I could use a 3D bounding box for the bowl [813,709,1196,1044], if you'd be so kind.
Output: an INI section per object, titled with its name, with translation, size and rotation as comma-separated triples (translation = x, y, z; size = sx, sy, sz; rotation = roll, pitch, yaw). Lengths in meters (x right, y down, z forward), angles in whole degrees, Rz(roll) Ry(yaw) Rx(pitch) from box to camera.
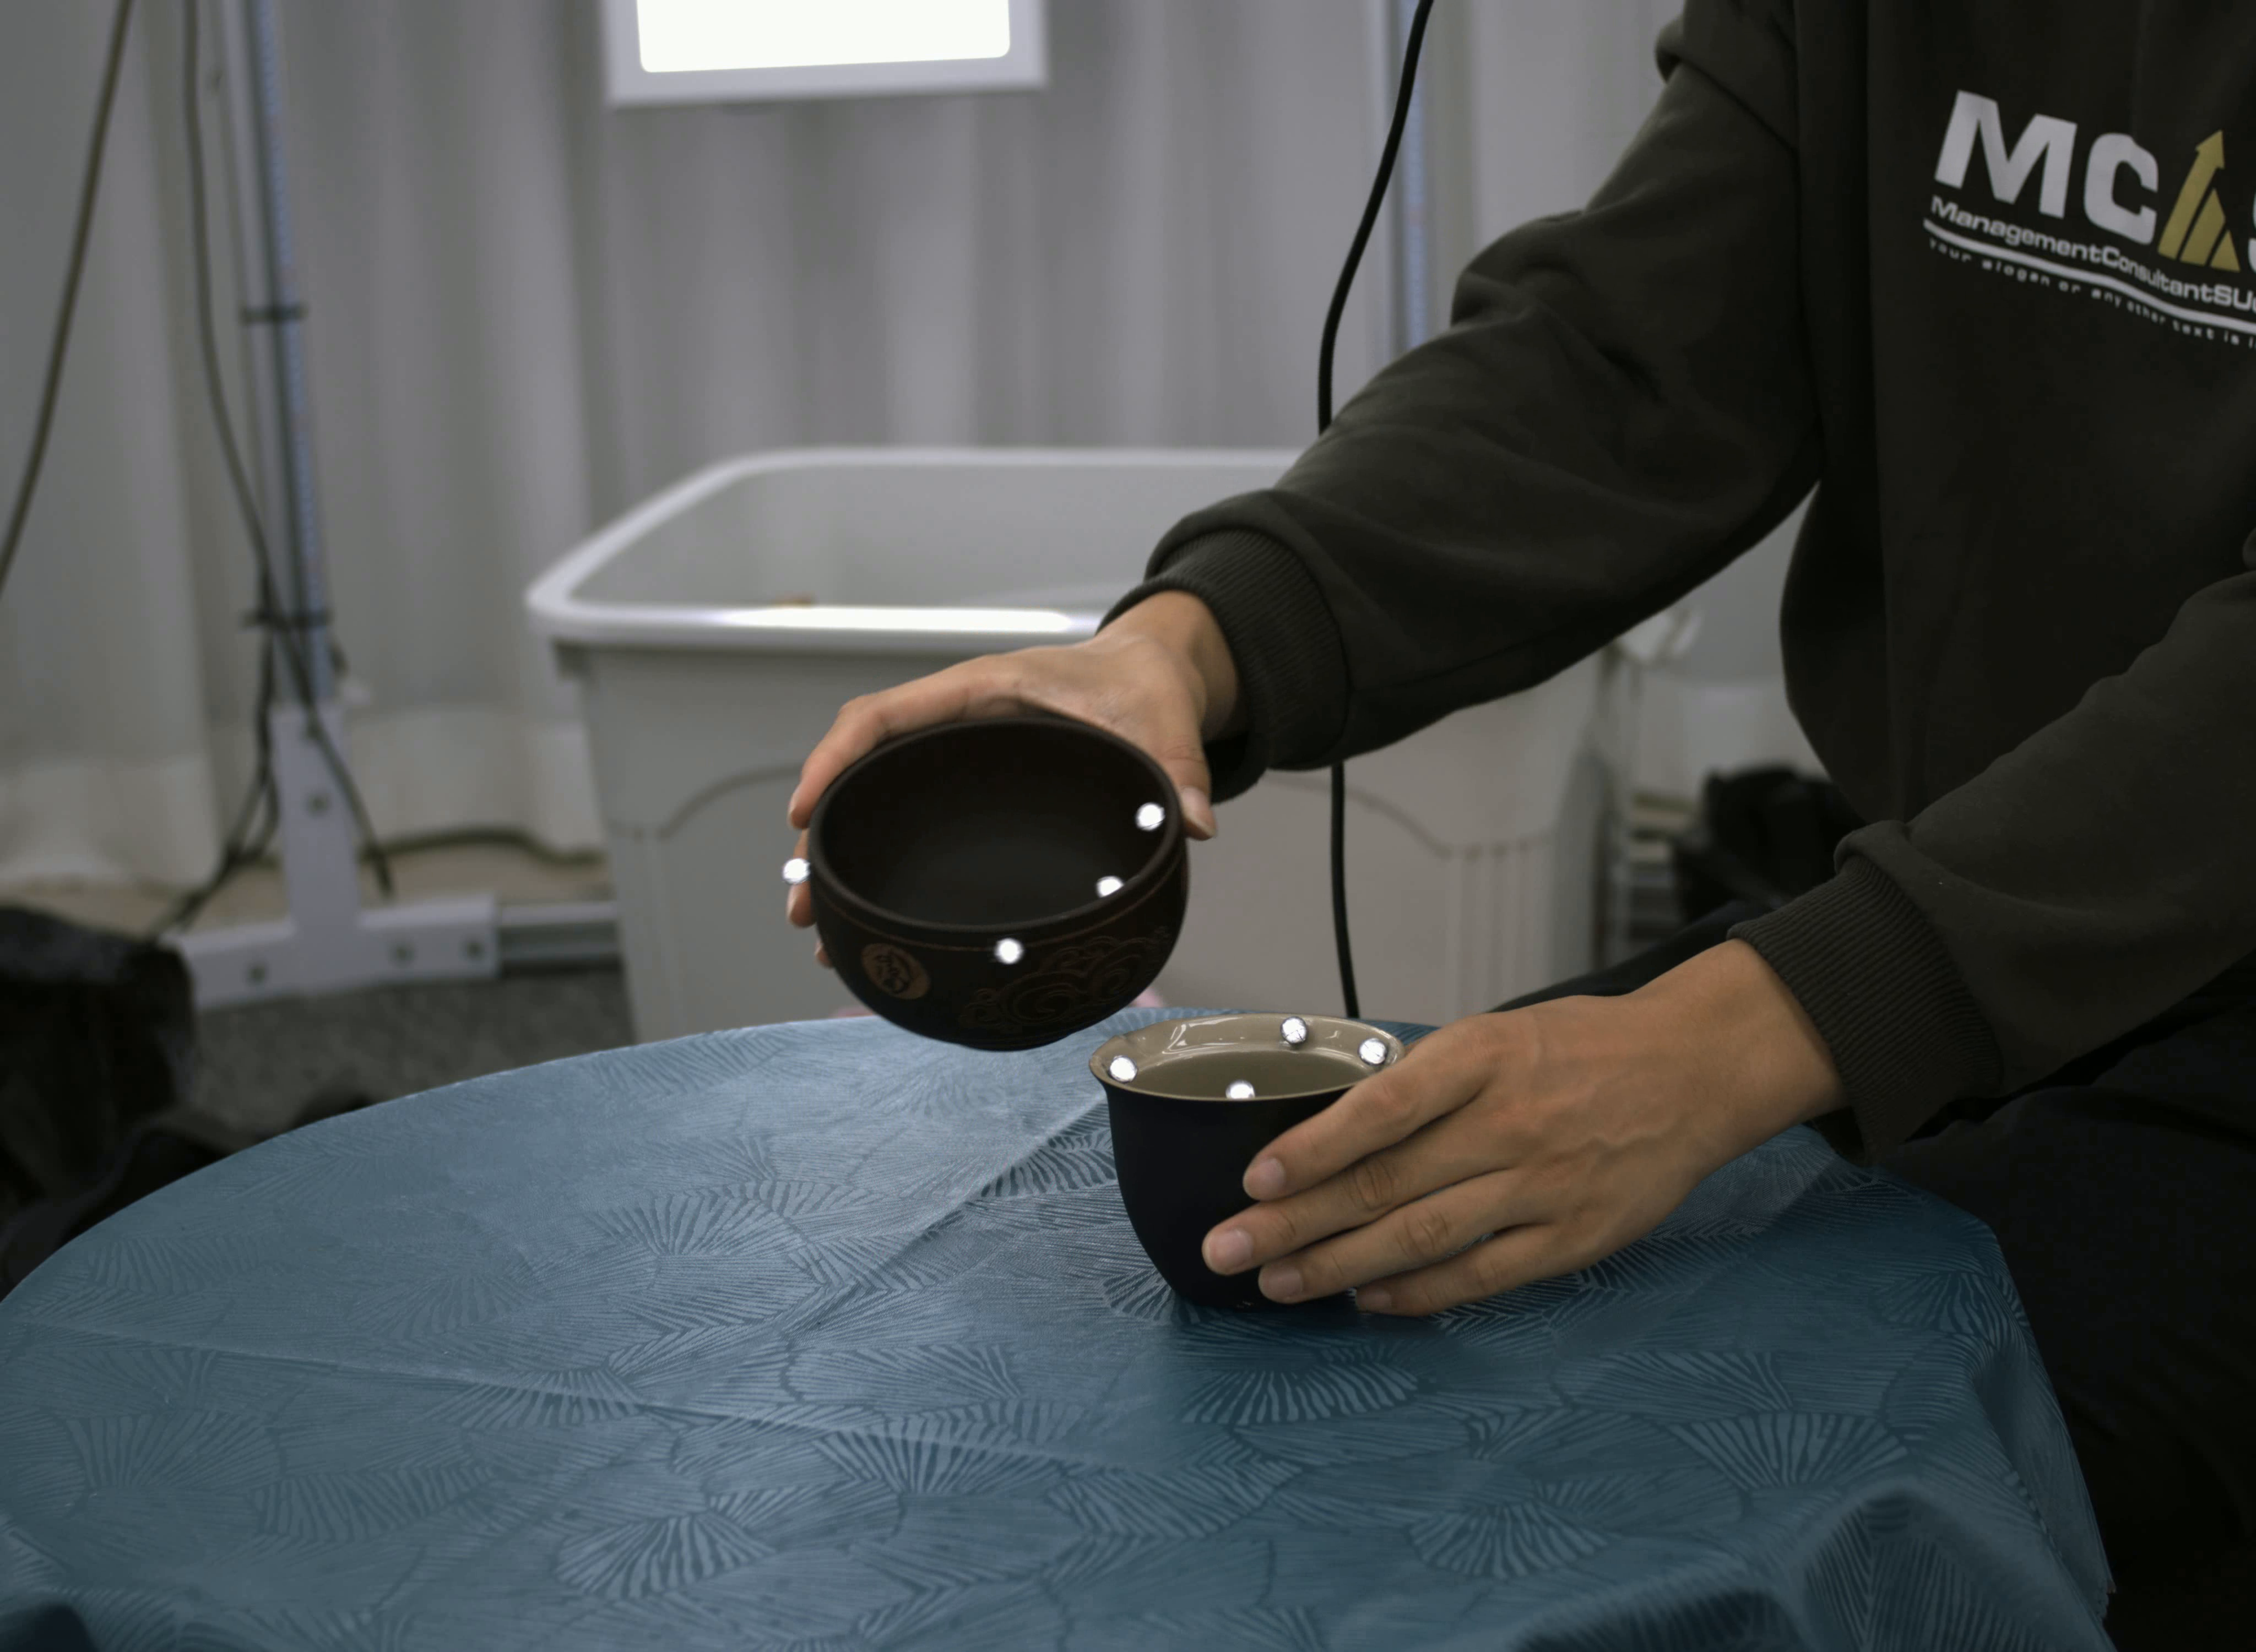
[bowl]
translation = -0.037, 0.024, 1.692
size = 0.117, 0.069, 0.119
rotation = -2, 34, 1

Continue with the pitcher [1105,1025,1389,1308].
[pitcher]
translation = 0.034, 0.101, 1.622
size = 0.083, 0.071, 0.096
rotation = -14, 15, -32
